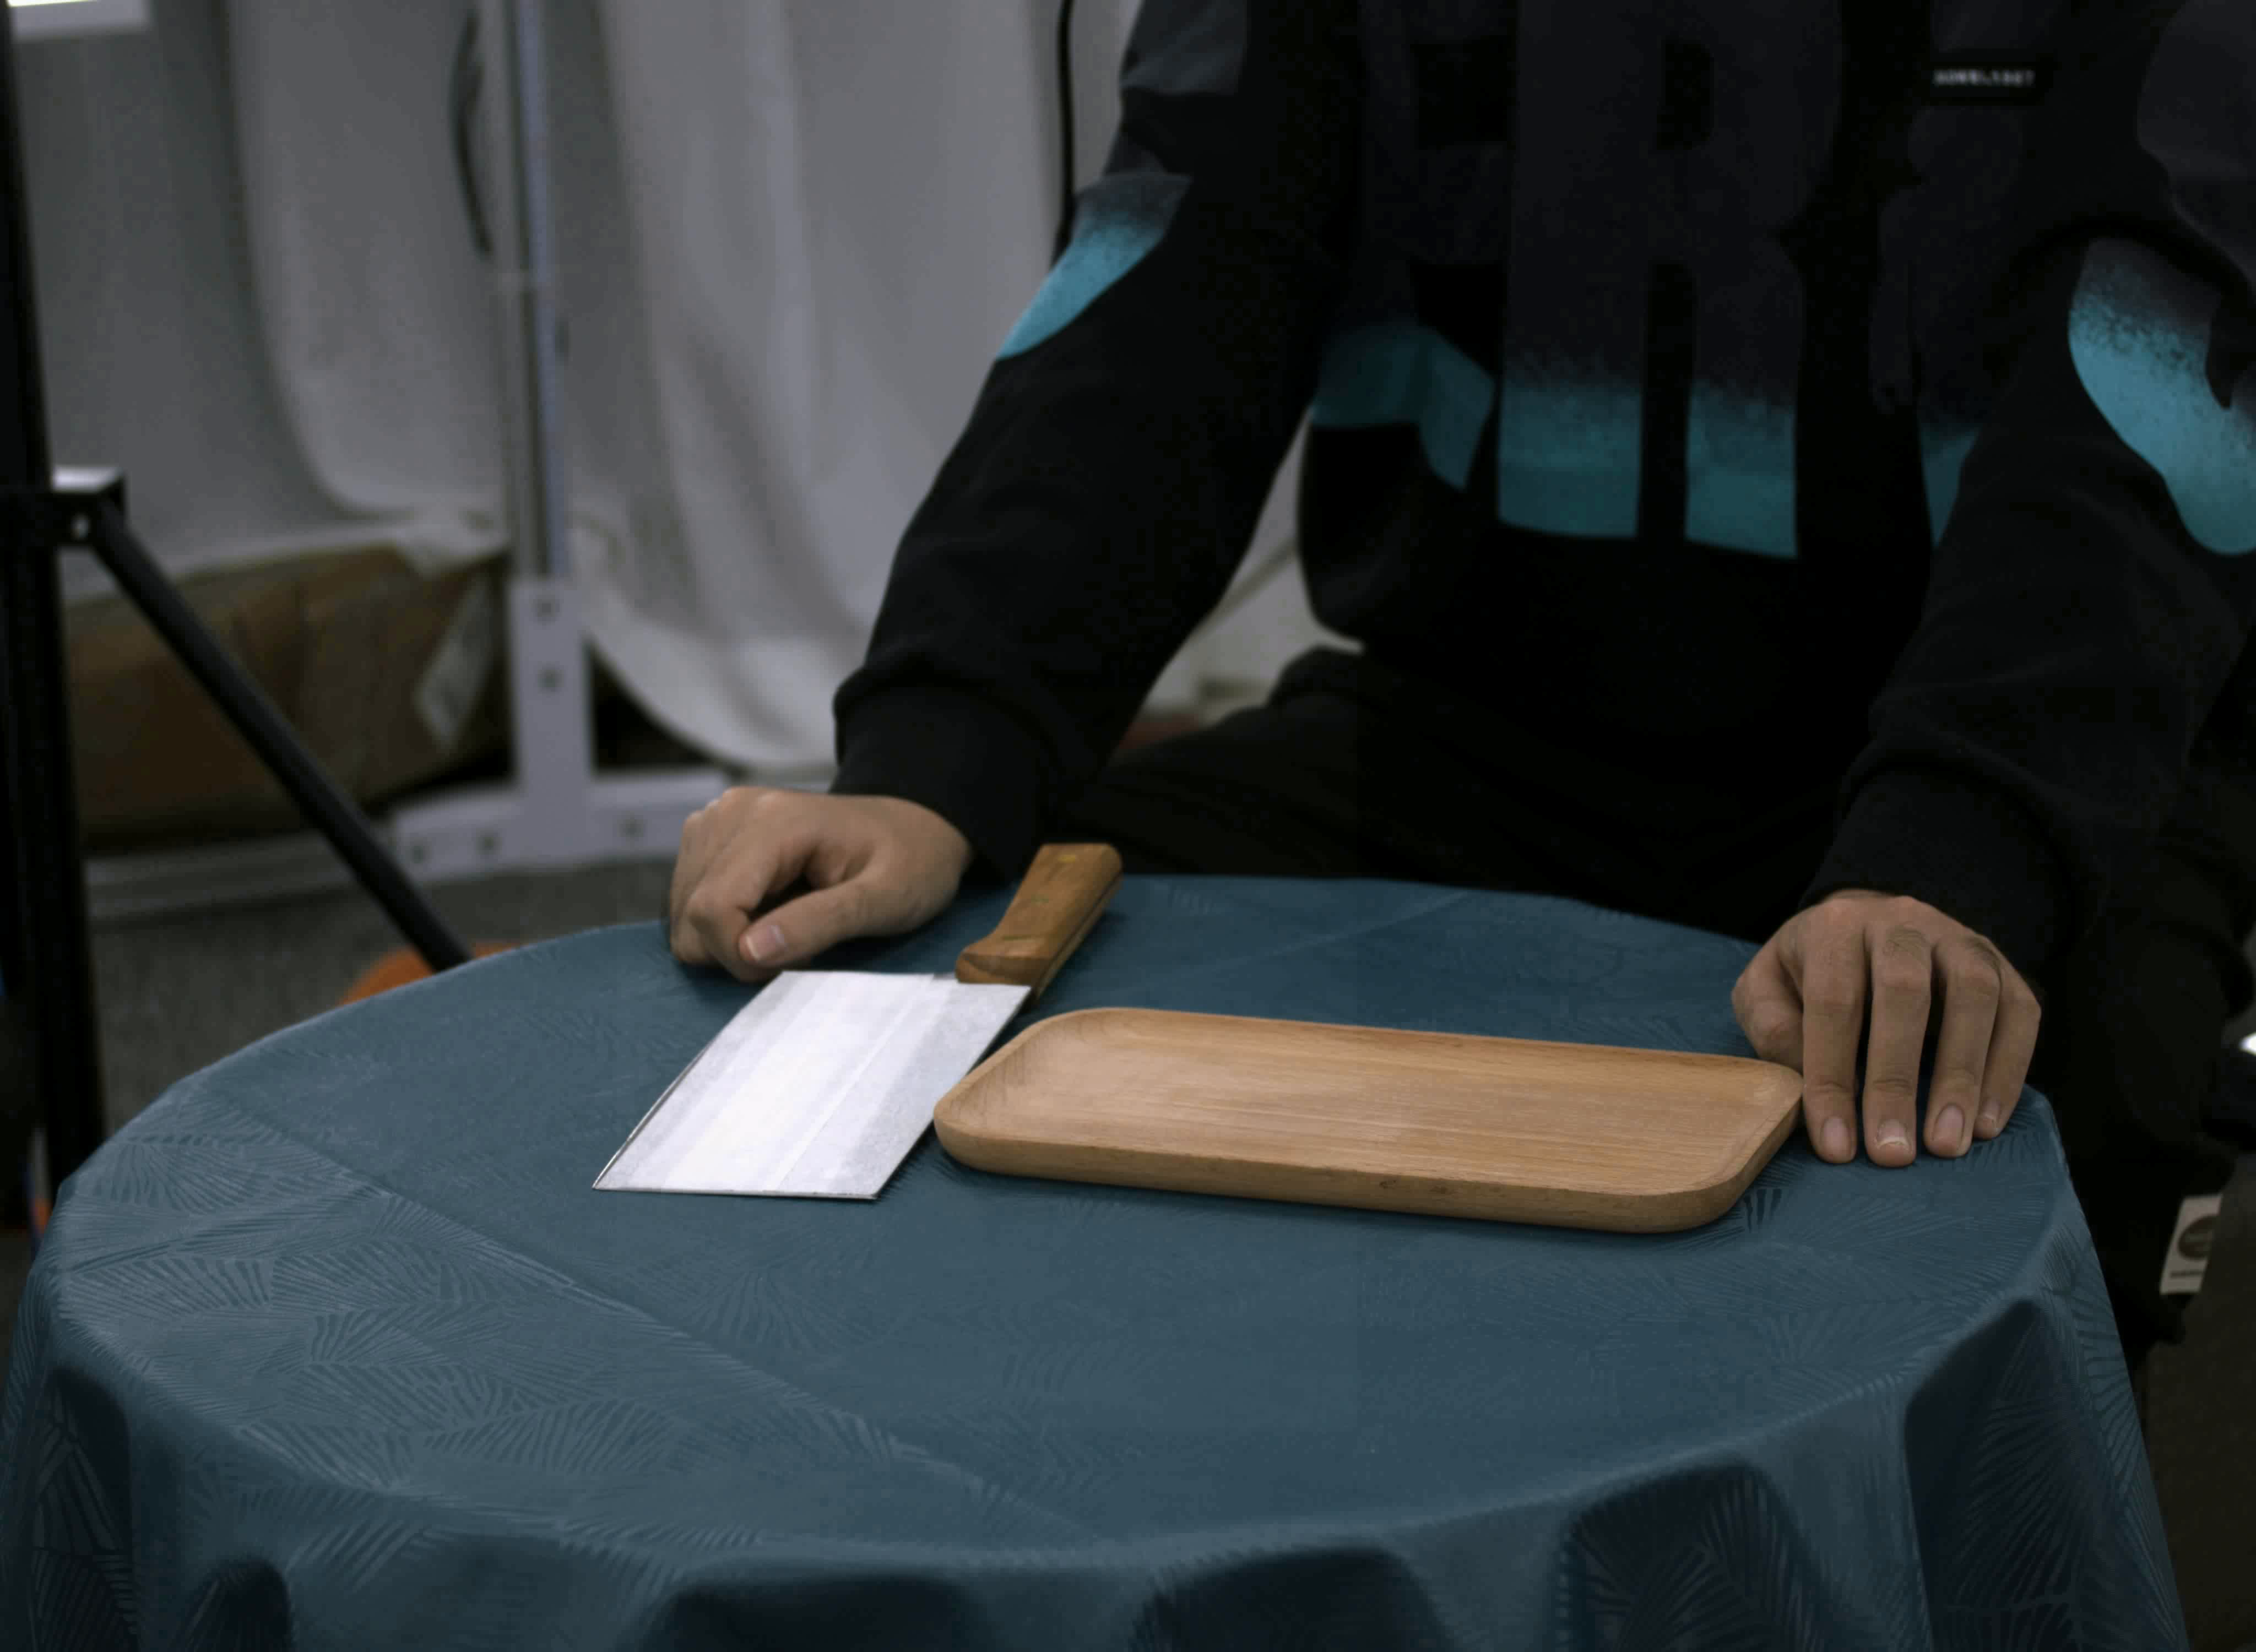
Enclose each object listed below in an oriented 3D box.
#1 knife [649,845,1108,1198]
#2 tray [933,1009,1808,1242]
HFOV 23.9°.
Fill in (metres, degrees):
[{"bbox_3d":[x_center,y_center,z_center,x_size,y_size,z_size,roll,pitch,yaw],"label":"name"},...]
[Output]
[{"bbox_3d":[-0.079,0.061,1.709,0.093,0.021,0.303,0,18,15],"label":"knife"},{"bbox_3d":[0.072,0.089,1.586,0.254,0.023,0.129,6,20,24],"label":"tray"}]
